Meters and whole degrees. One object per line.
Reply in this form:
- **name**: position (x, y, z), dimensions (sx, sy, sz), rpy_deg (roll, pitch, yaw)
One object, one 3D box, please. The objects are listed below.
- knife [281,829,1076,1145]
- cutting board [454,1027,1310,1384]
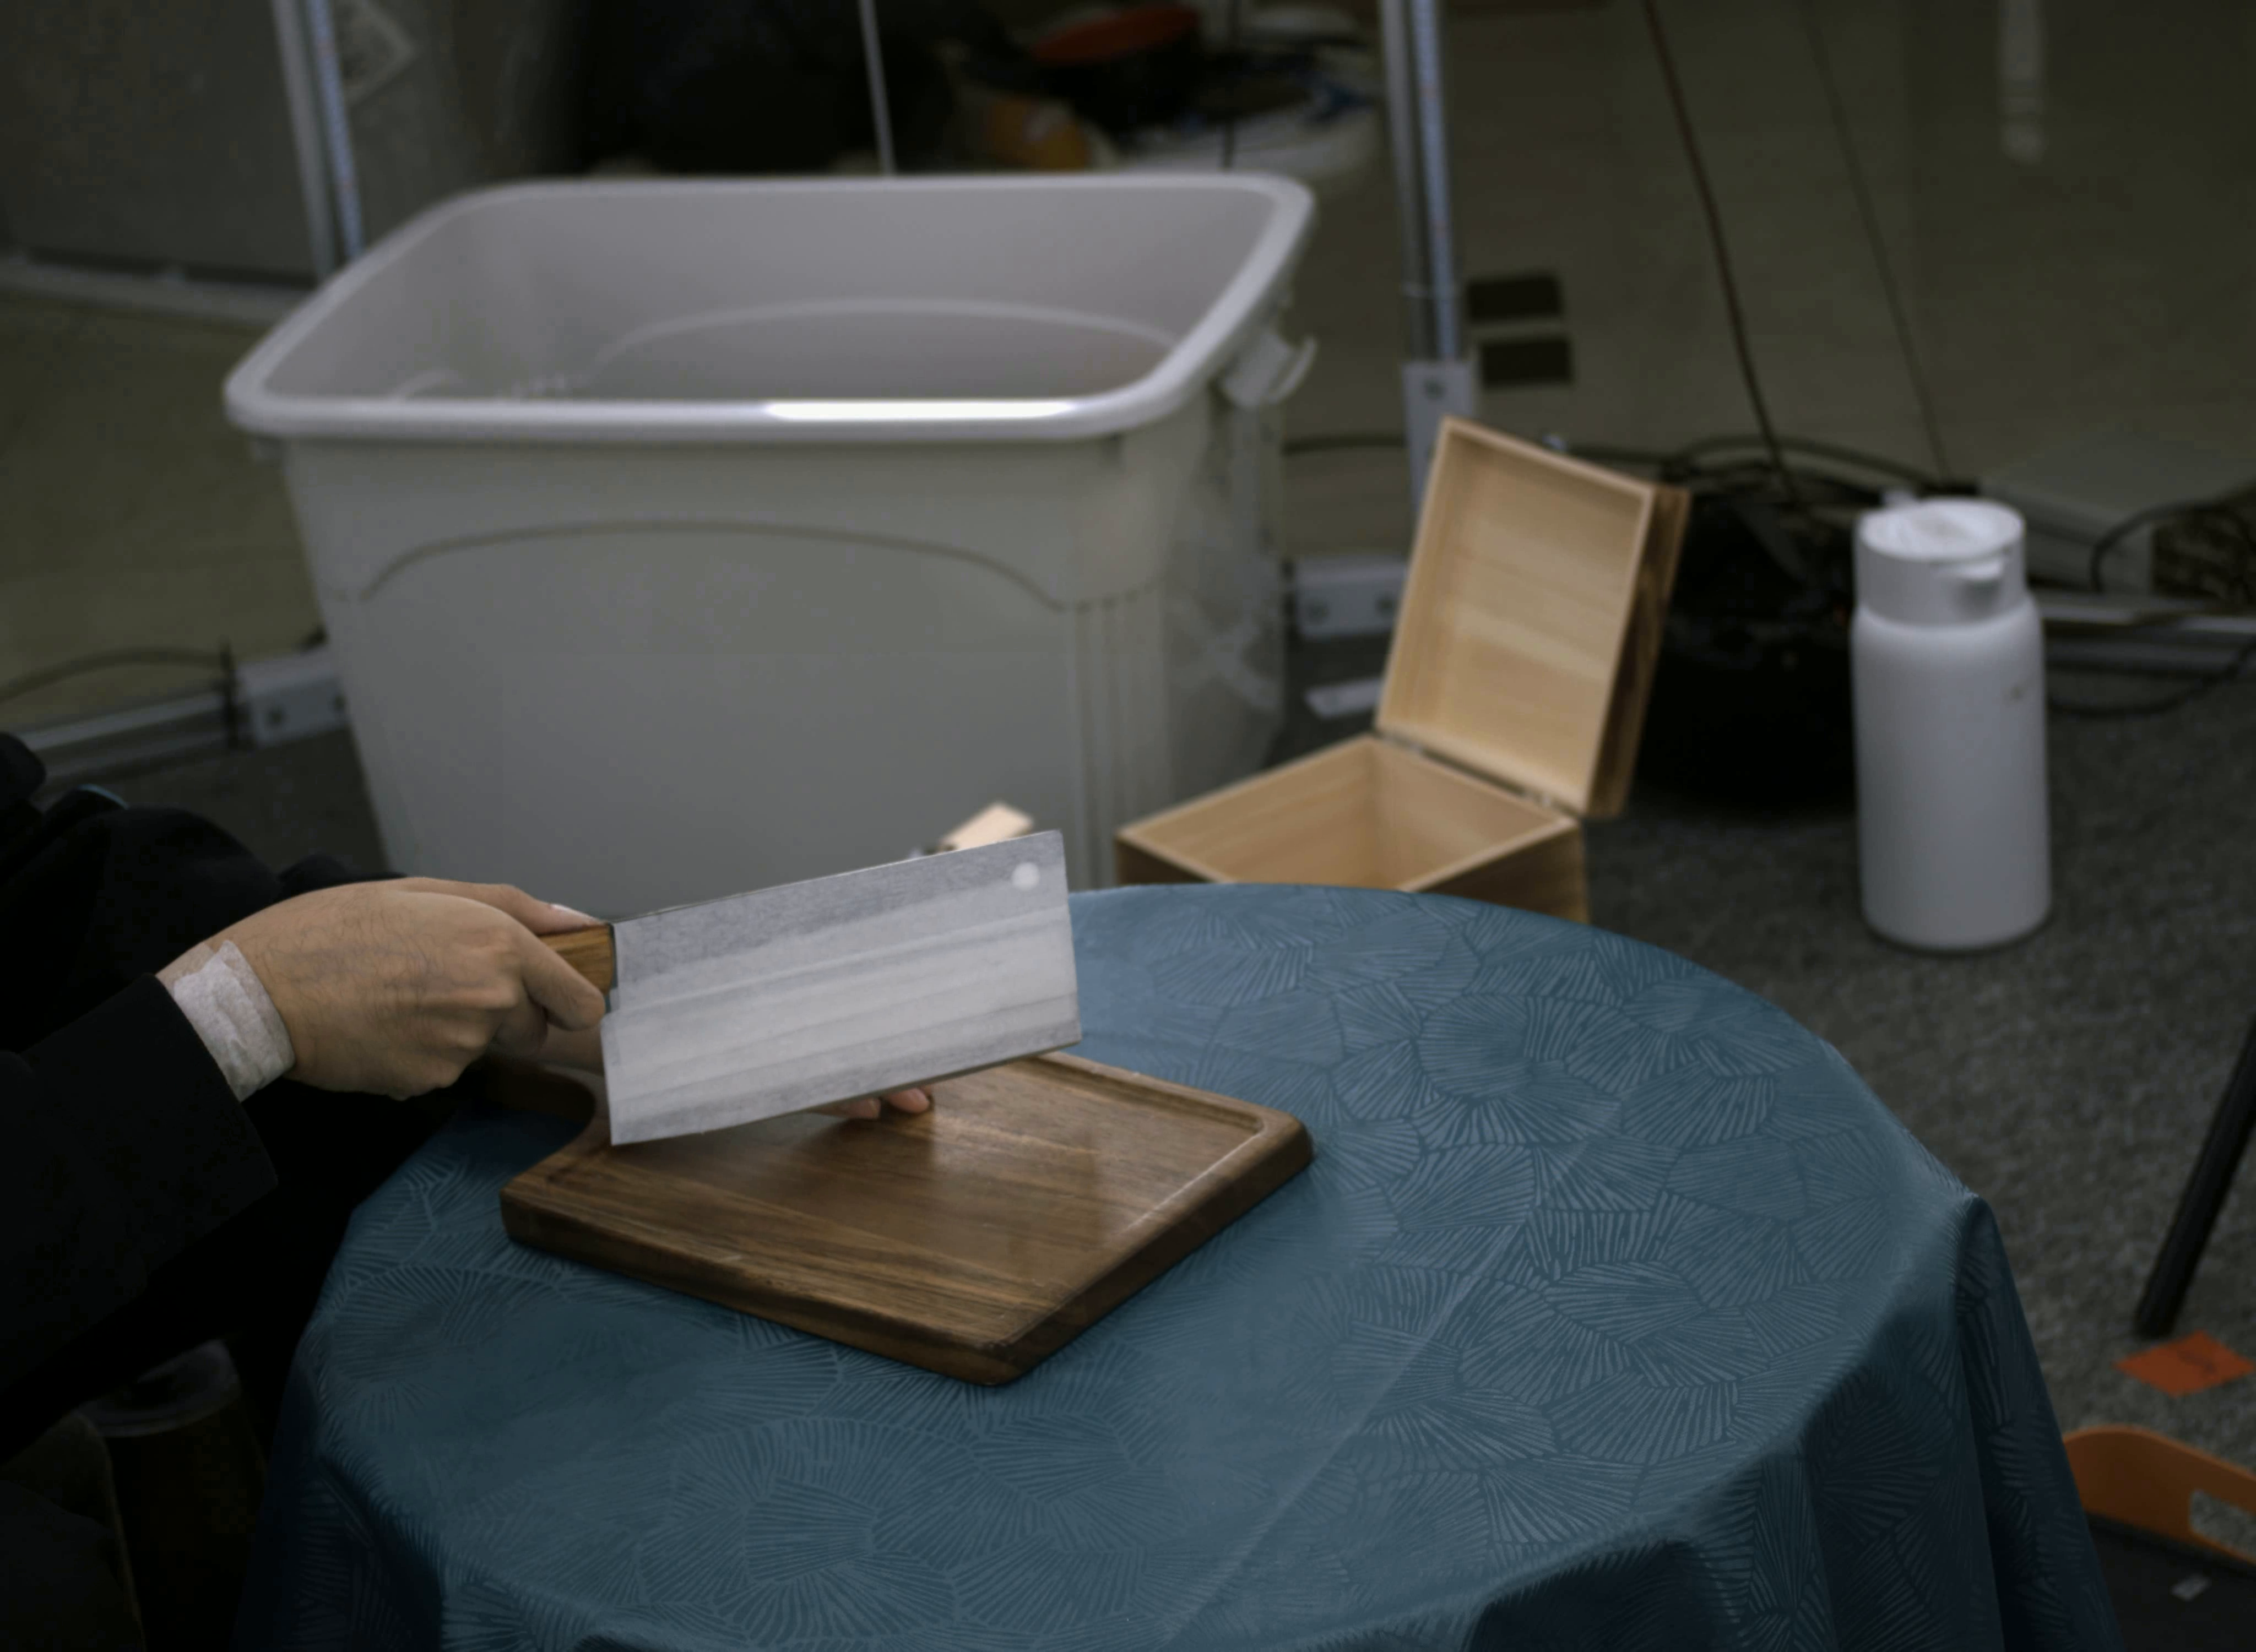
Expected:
- **knife**: position (-0.164, 0.071, 2.126), dimensions (0.305, 0.094, 0.021), rpy_deg (-12, 23, -17)
- **cutting board**: position (-0.124, 0.124, 2.183), dimensions (0.350, 0.023, 0.199), rpy_deg (13, 31, 35)
